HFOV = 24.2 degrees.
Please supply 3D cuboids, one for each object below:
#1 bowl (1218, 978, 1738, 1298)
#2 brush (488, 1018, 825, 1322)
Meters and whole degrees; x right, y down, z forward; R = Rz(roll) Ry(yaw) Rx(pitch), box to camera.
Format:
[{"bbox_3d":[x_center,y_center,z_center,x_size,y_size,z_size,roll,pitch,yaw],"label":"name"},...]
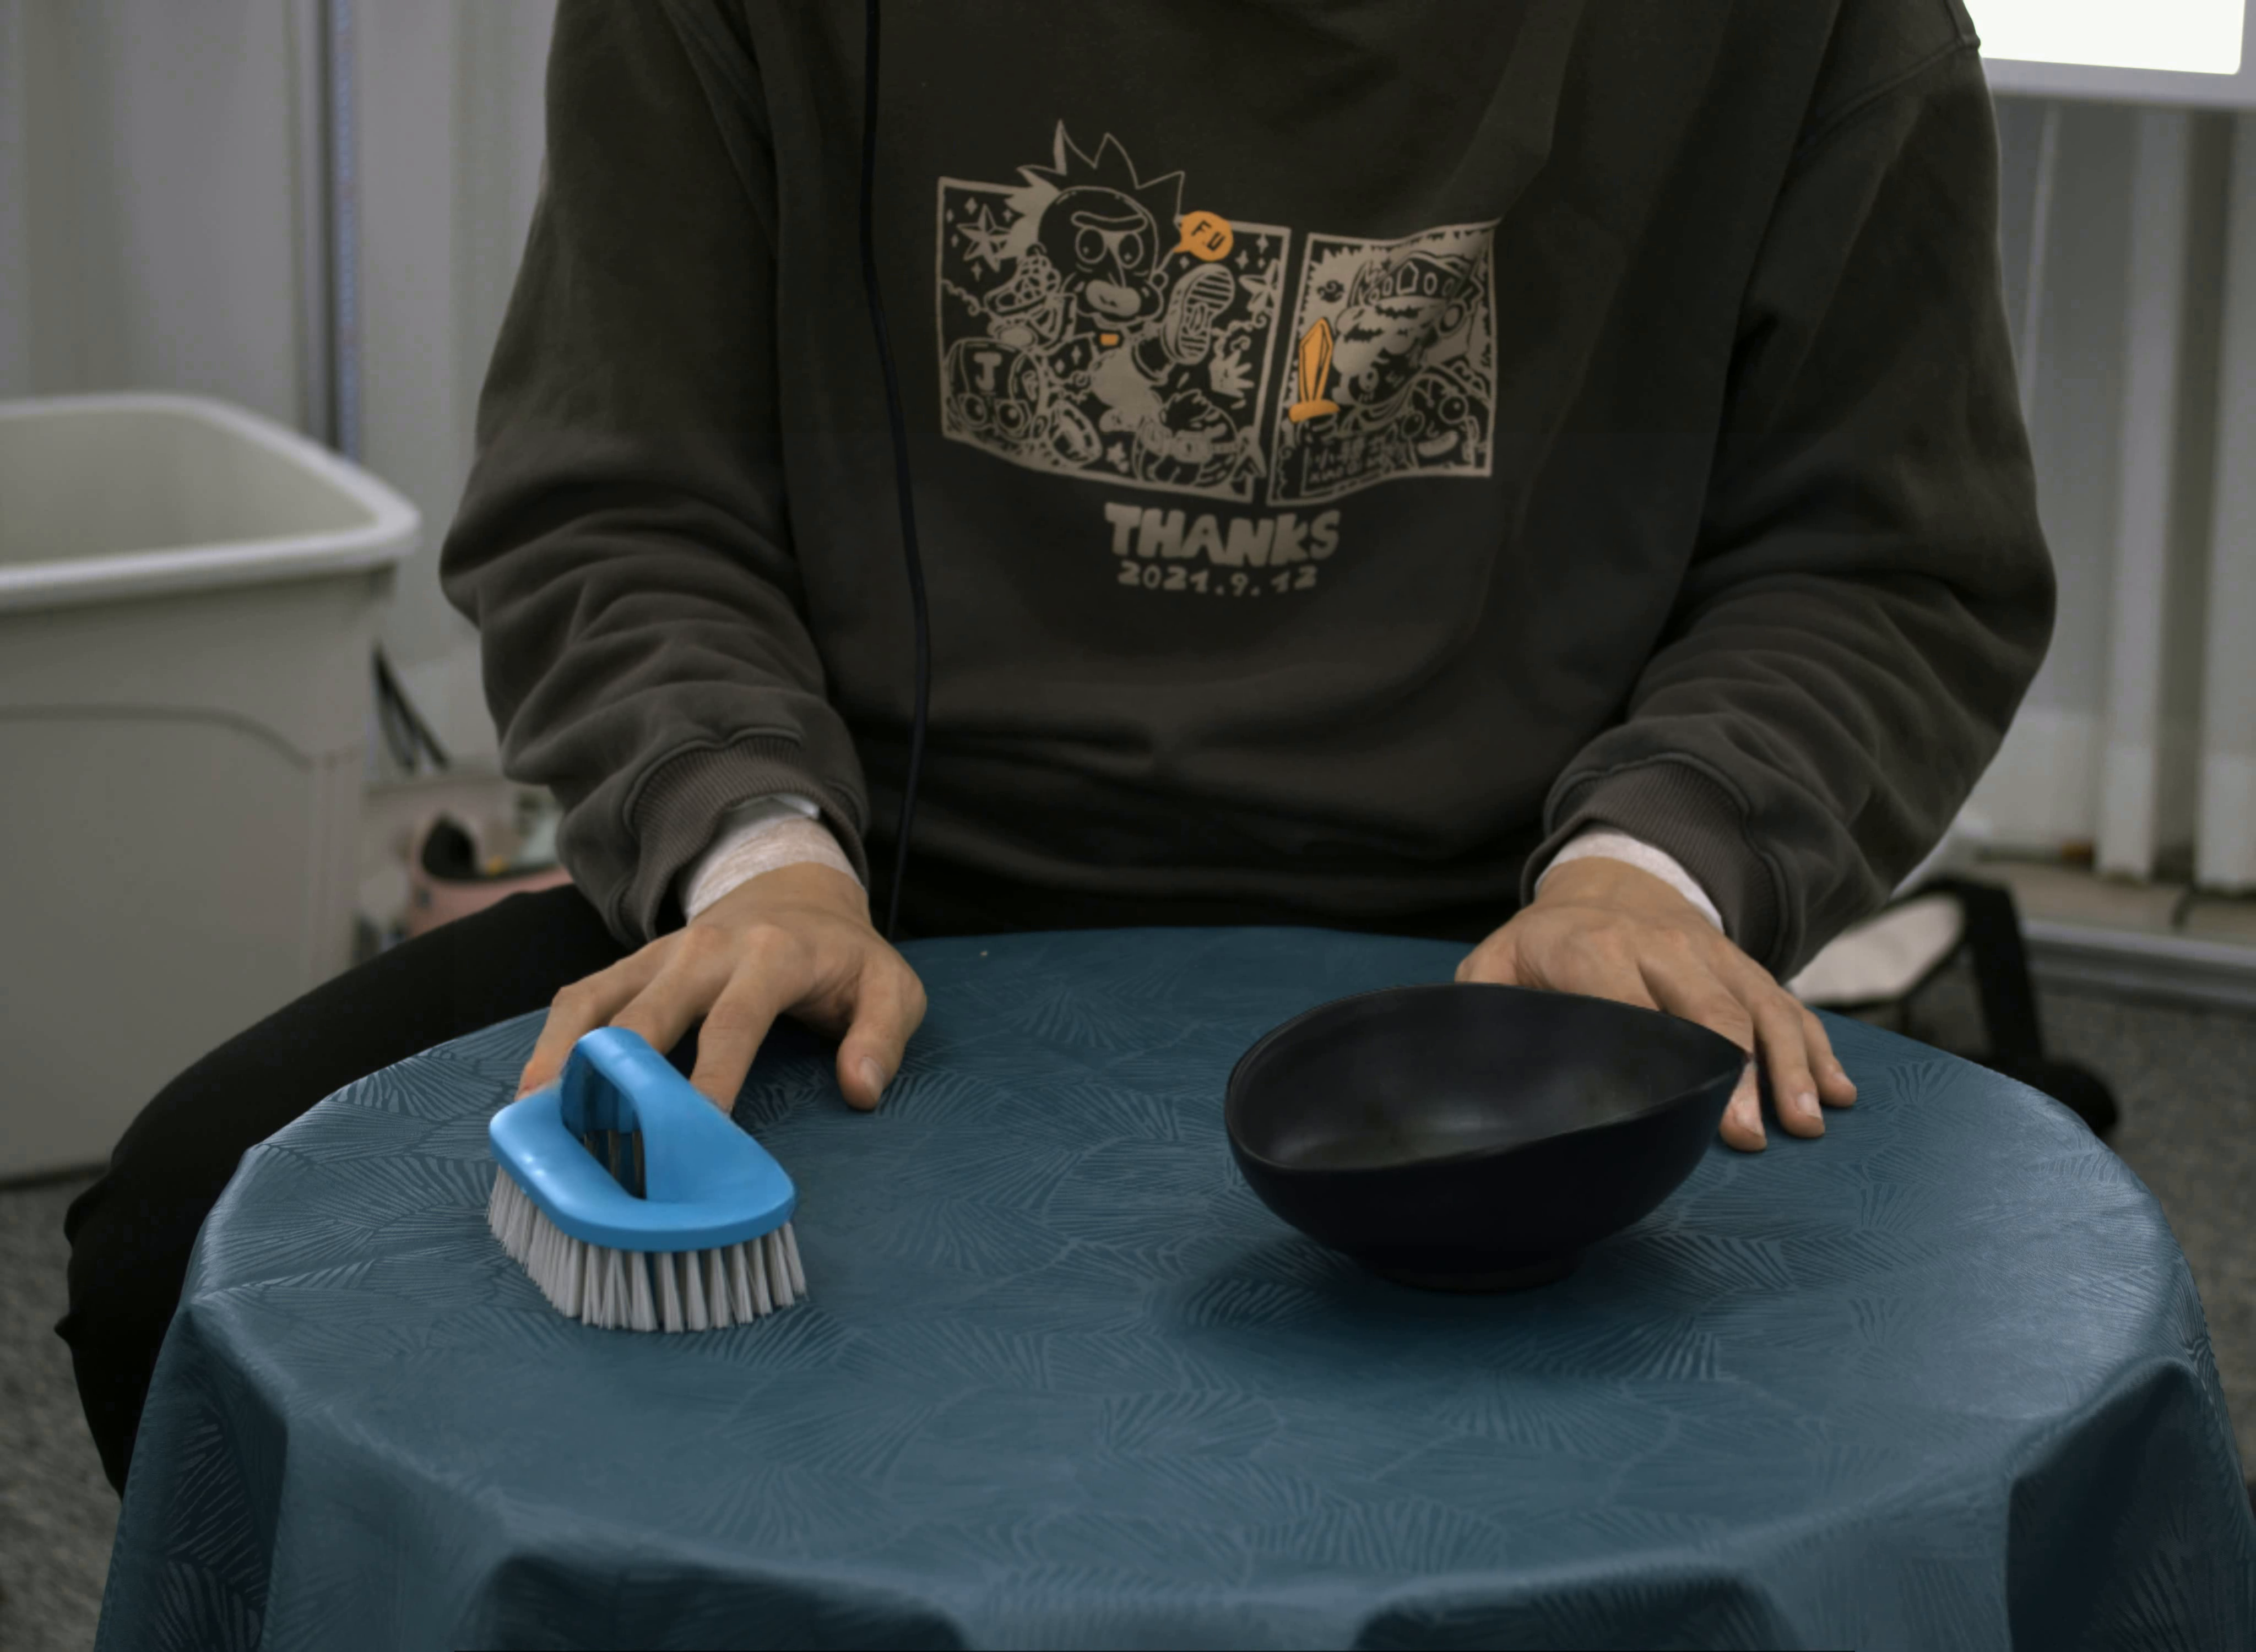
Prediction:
[{"bbox_3d":[0.105,0.098,1.567,0.171,0.067,0.135,-16,22,-42],"label":"bowl"},{"bbox_3d":[-0.143,0.095,1.564,0.084,0.064,0.140,-10,17,-18],"label":"brush"}]
